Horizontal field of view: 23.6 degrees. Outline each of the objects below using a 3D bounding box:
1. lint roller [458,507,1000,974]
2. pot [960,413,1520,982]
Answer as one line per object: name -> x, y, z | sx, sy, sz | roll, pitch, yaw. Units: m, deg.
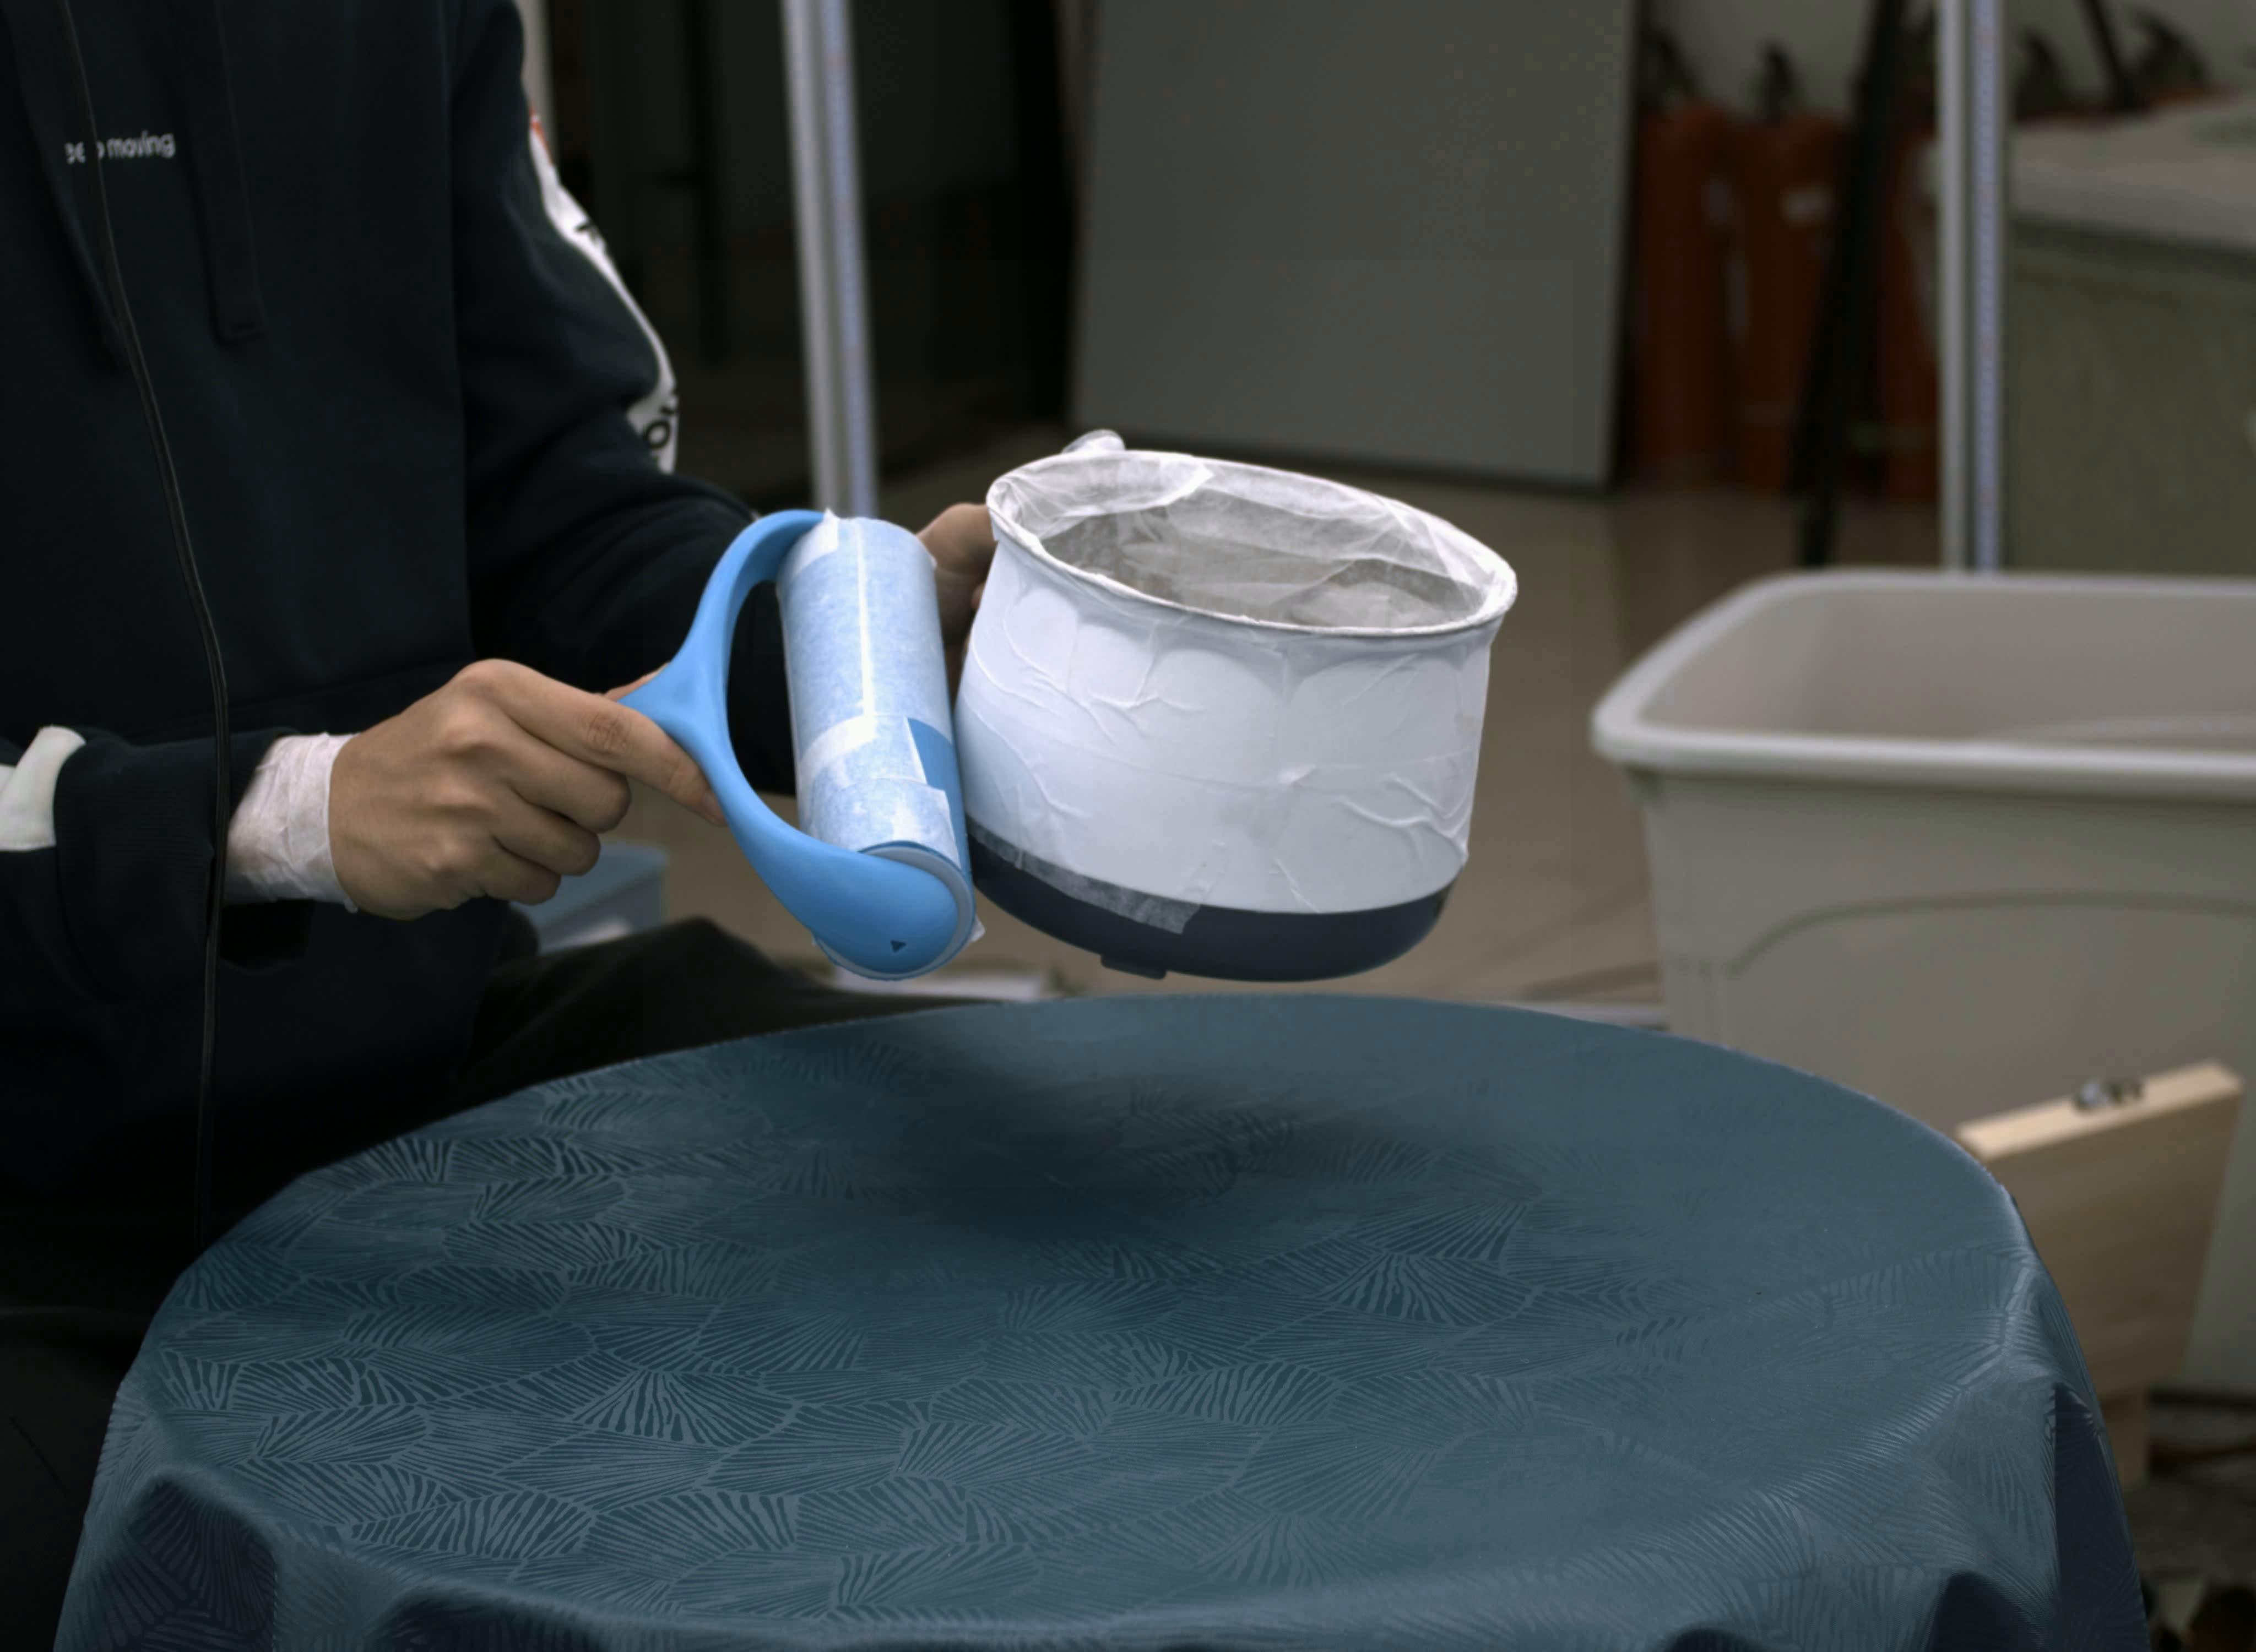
lint roller -> -0.136, -0.017, 1.758 | 0.178, 0.068, 0.231 | -13, 37, -2
pot -> 0.017, -0.048, 1.795 | 0.174, 0.138, 0.236 | -2, 24, -31
